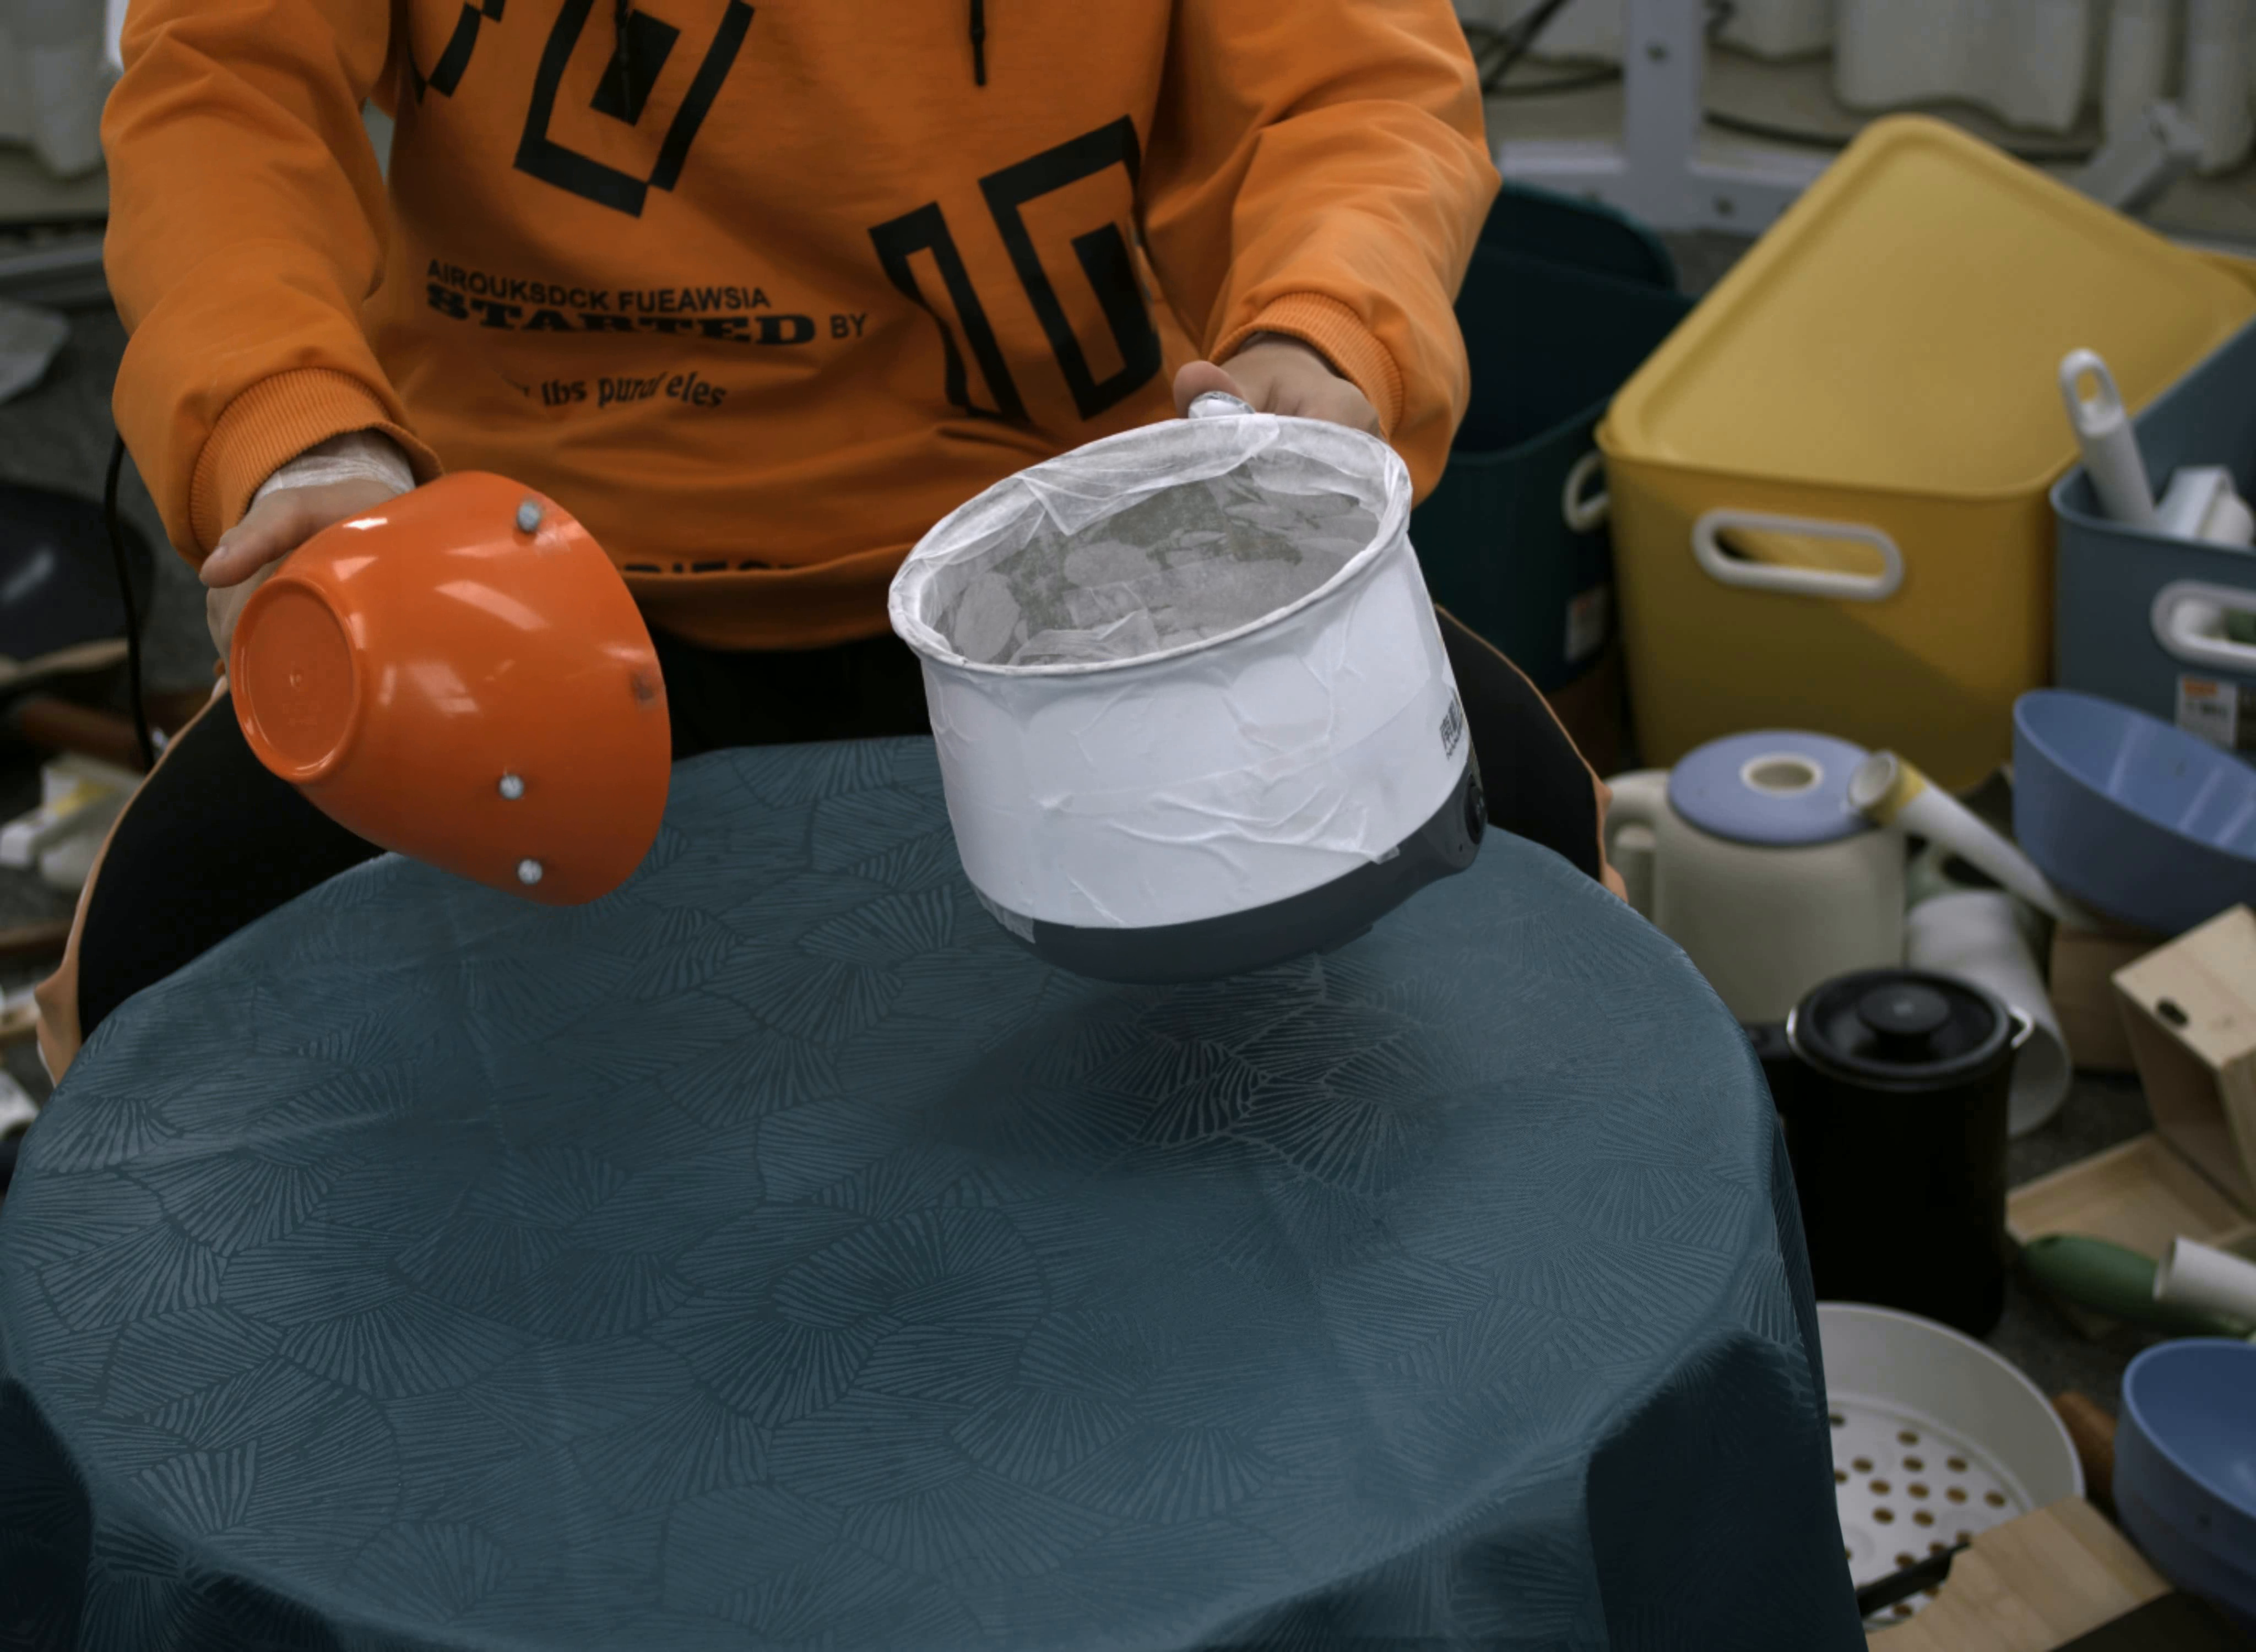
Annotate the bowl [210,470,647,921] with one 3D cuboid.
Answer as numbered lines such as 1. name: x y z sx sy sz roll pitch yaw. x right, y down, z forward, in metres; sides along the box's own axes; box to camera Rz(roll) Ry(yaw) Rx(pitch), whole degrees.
1. bowl: -0.237 -0.043 1.824 0.148 0.148 0.105 22 12 39

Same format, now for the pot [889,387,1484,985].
1. pot: 0.027 -0.055 1.899 0.177 0.135 0.238 -6 28 16
